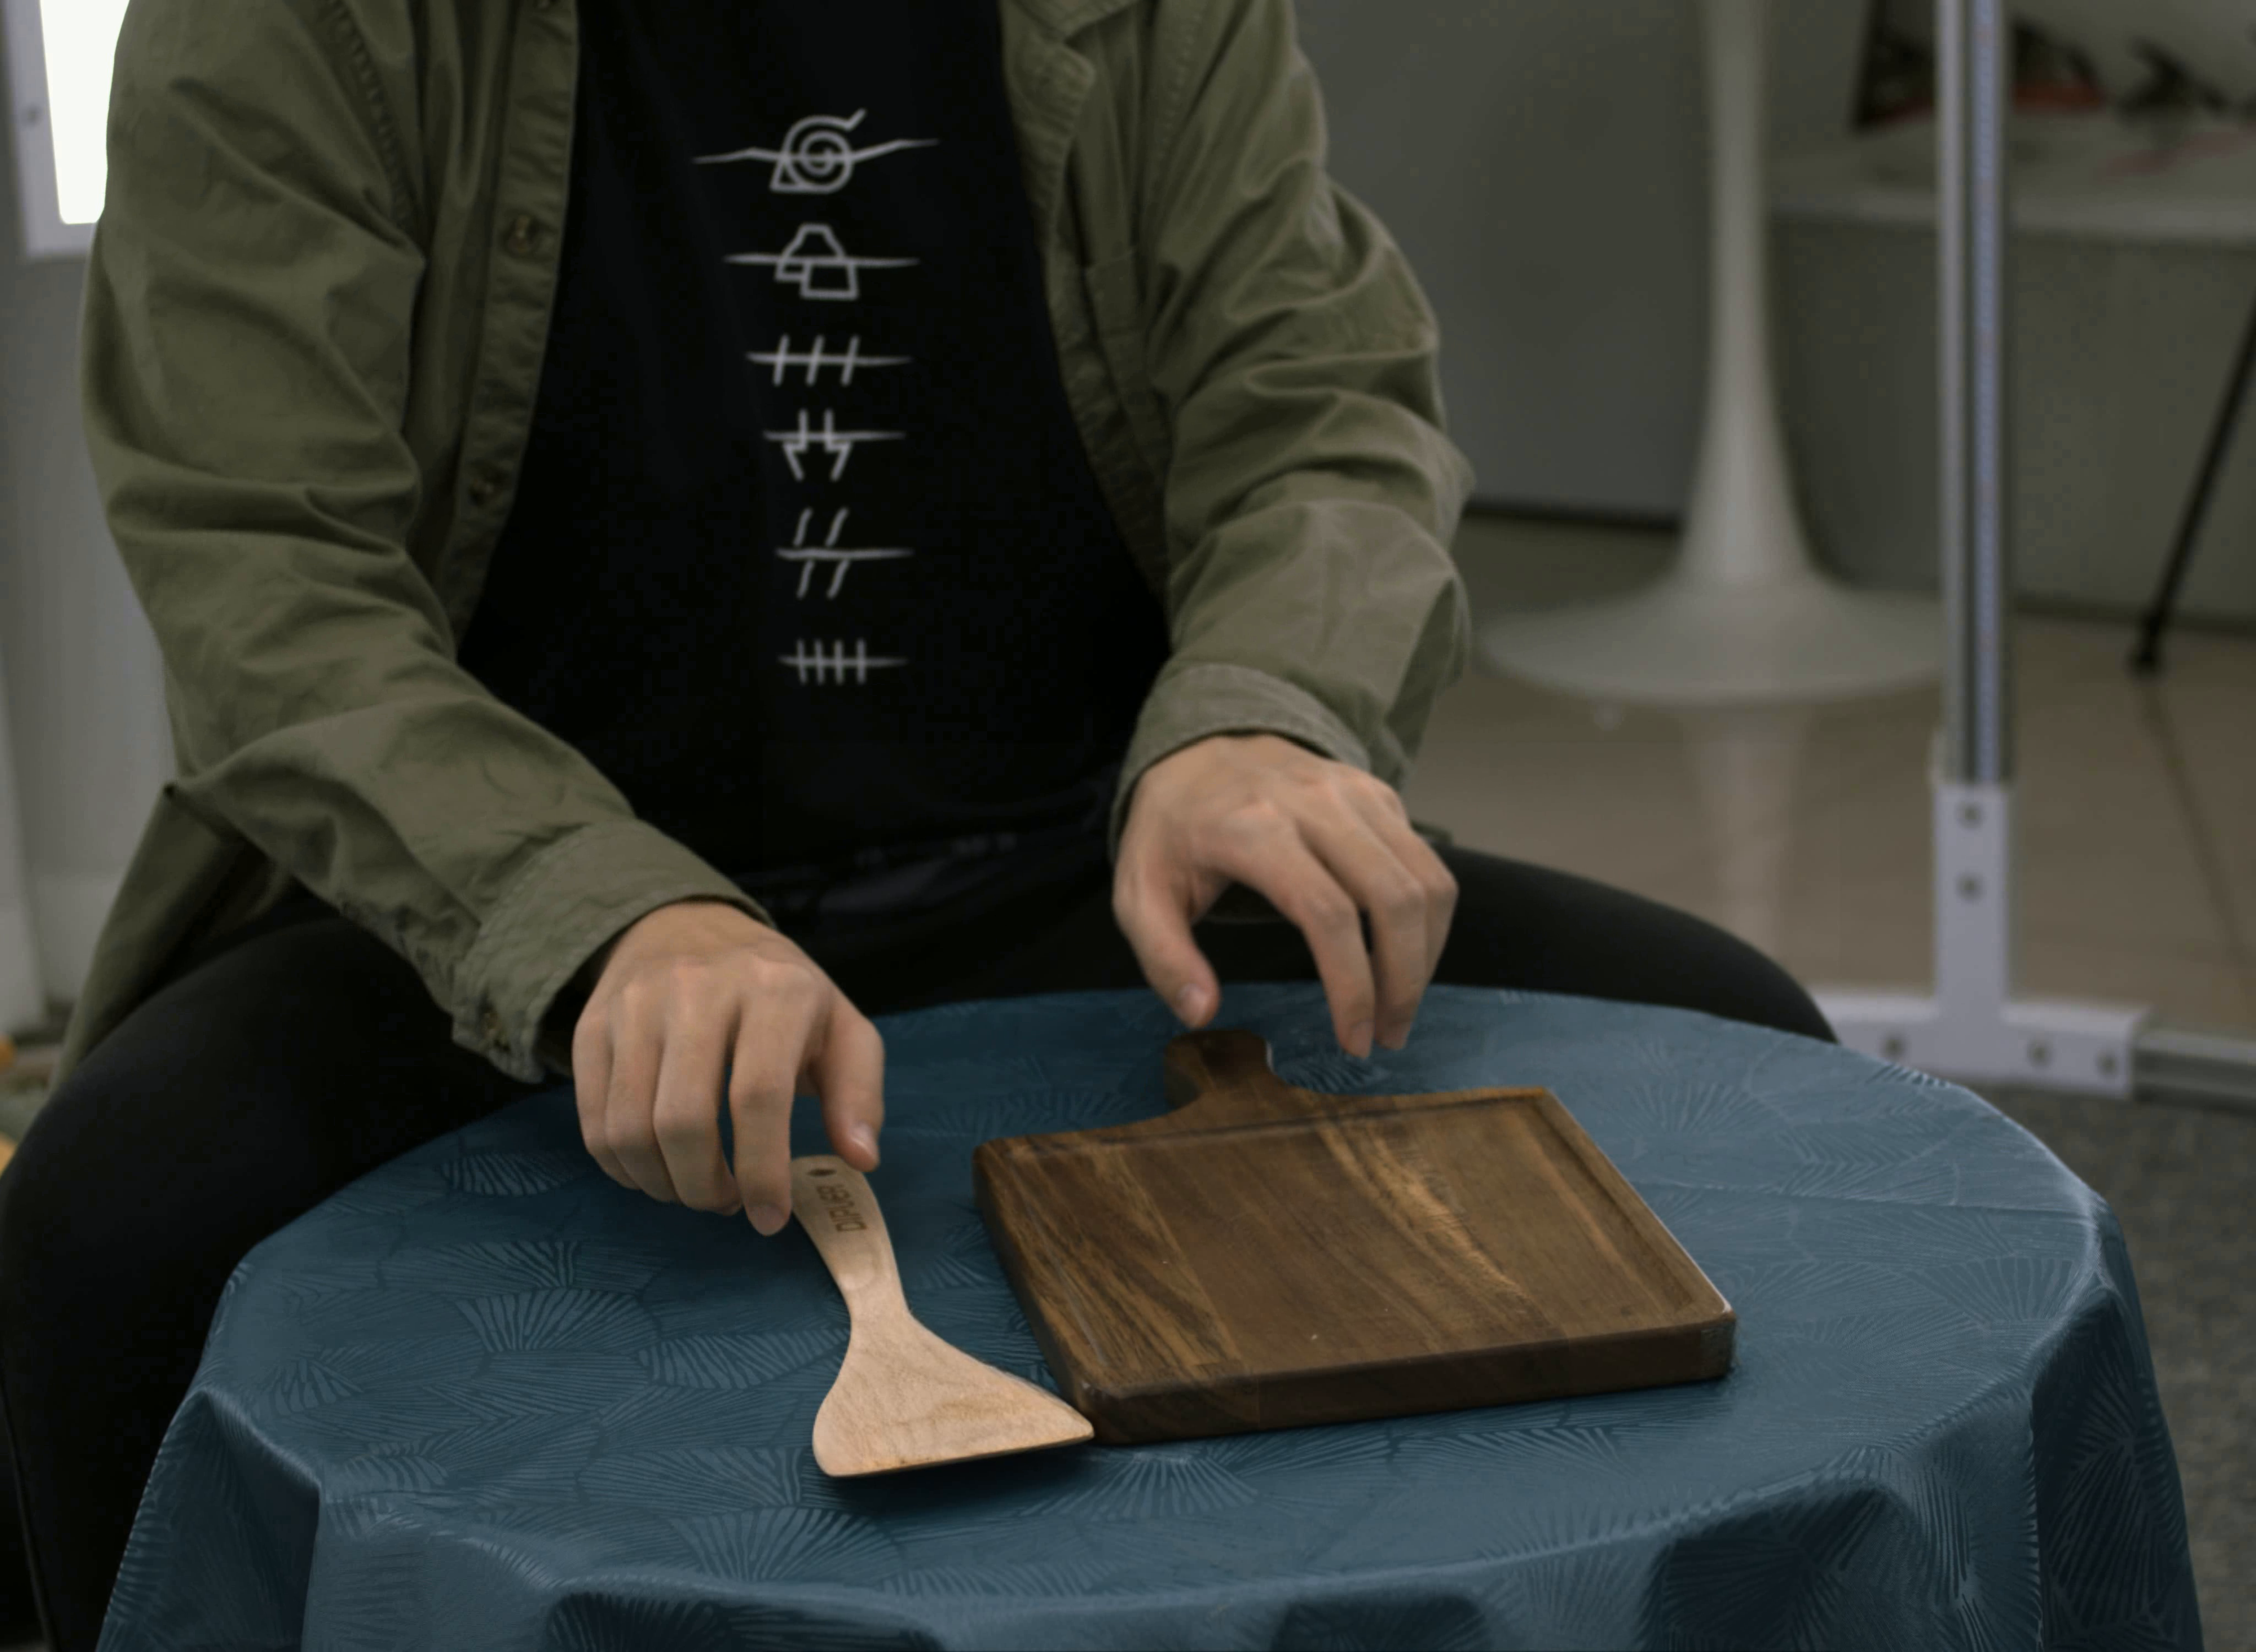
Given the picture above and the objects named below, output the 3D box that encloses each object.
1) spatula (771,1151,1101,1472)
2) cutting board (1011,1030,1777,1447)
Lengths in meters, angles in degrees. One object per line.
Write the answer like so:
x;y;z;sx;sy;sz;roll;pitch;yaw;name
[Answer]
-0.074;0.145;1.660;0.078;0.017;0.330;-6;14;-10;spatula
0.068;0.120;1.709;0.198;0.023;0.354;-5;14;-6;cutting board
